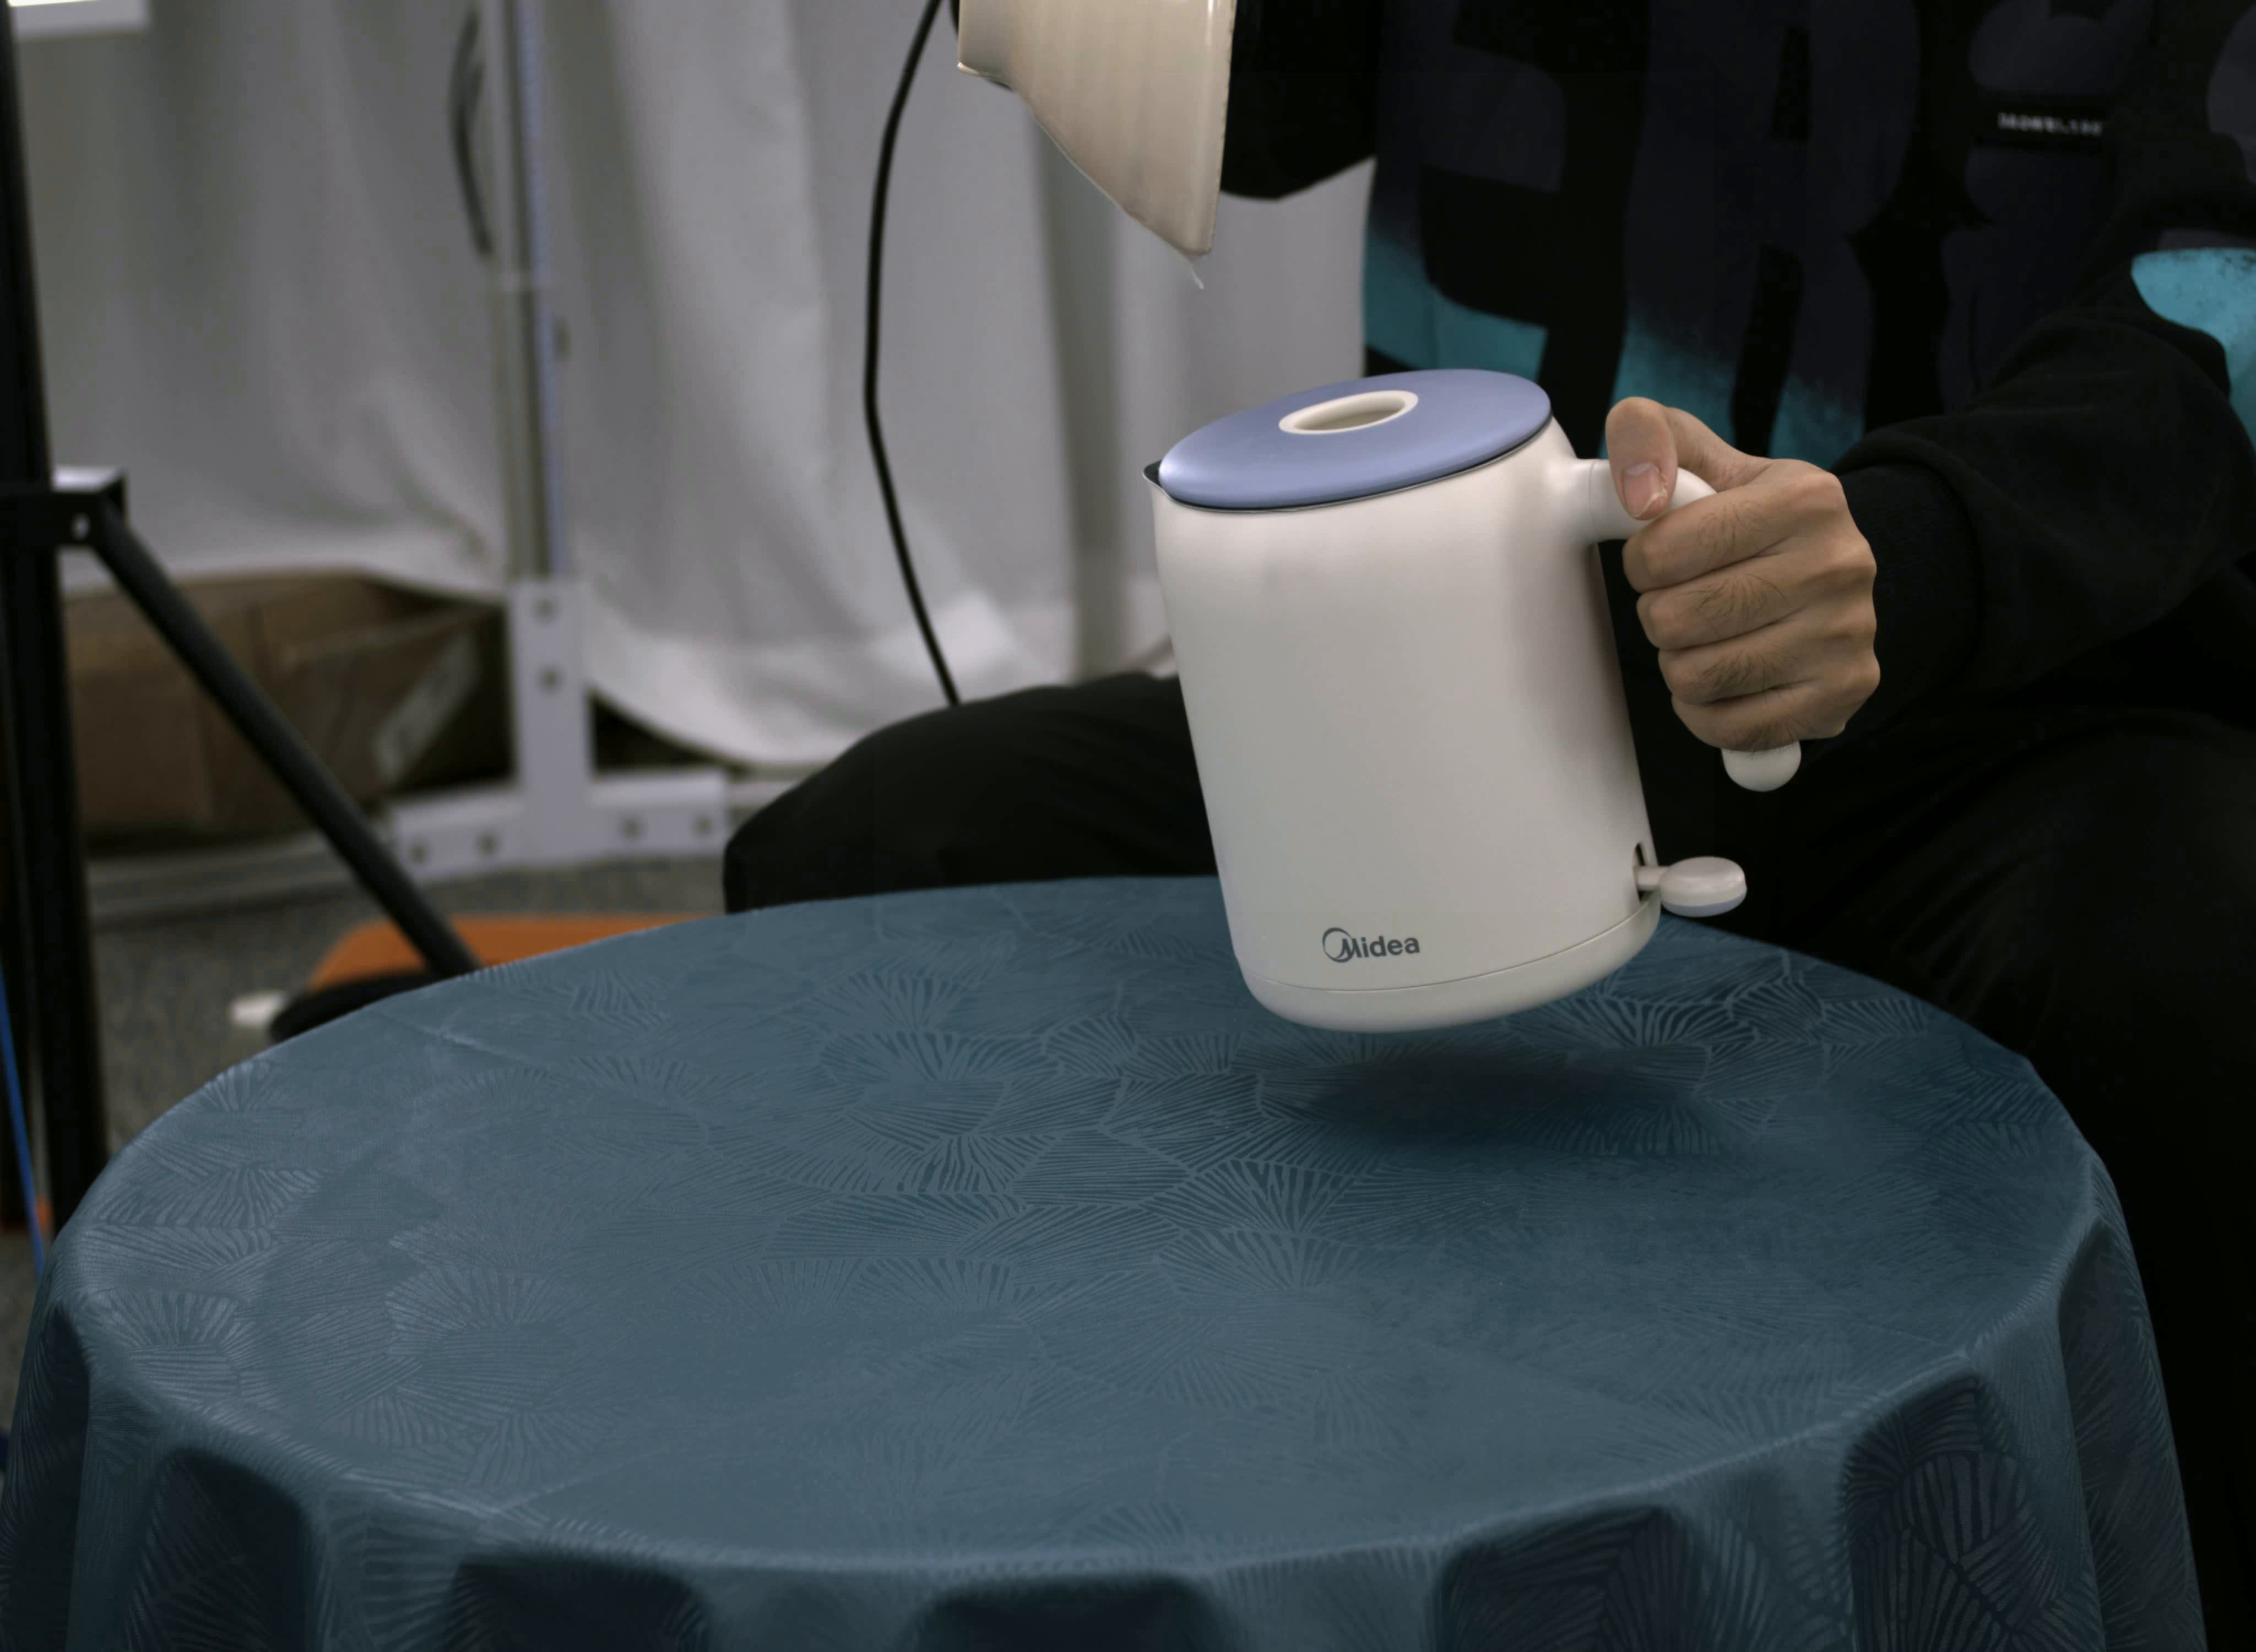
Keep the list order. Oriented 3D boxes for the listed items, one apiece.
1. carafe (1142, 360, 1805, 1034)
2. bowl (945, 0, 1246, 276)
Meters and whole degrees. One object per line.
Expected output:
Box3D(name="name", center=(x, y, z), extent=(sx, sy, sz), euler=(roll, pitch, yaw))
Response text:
Box3D(name="carafe", center=(0.106, -0.040, 1.585), extent=(0.193, 0.182, 0.131), euler=(-2, 20, 23))
Box3D(name="bowl", center=(-0.011, -0.263, 1.548), extent=(0.077, 0.204, 0.205), euler=(3, 15, -5))
